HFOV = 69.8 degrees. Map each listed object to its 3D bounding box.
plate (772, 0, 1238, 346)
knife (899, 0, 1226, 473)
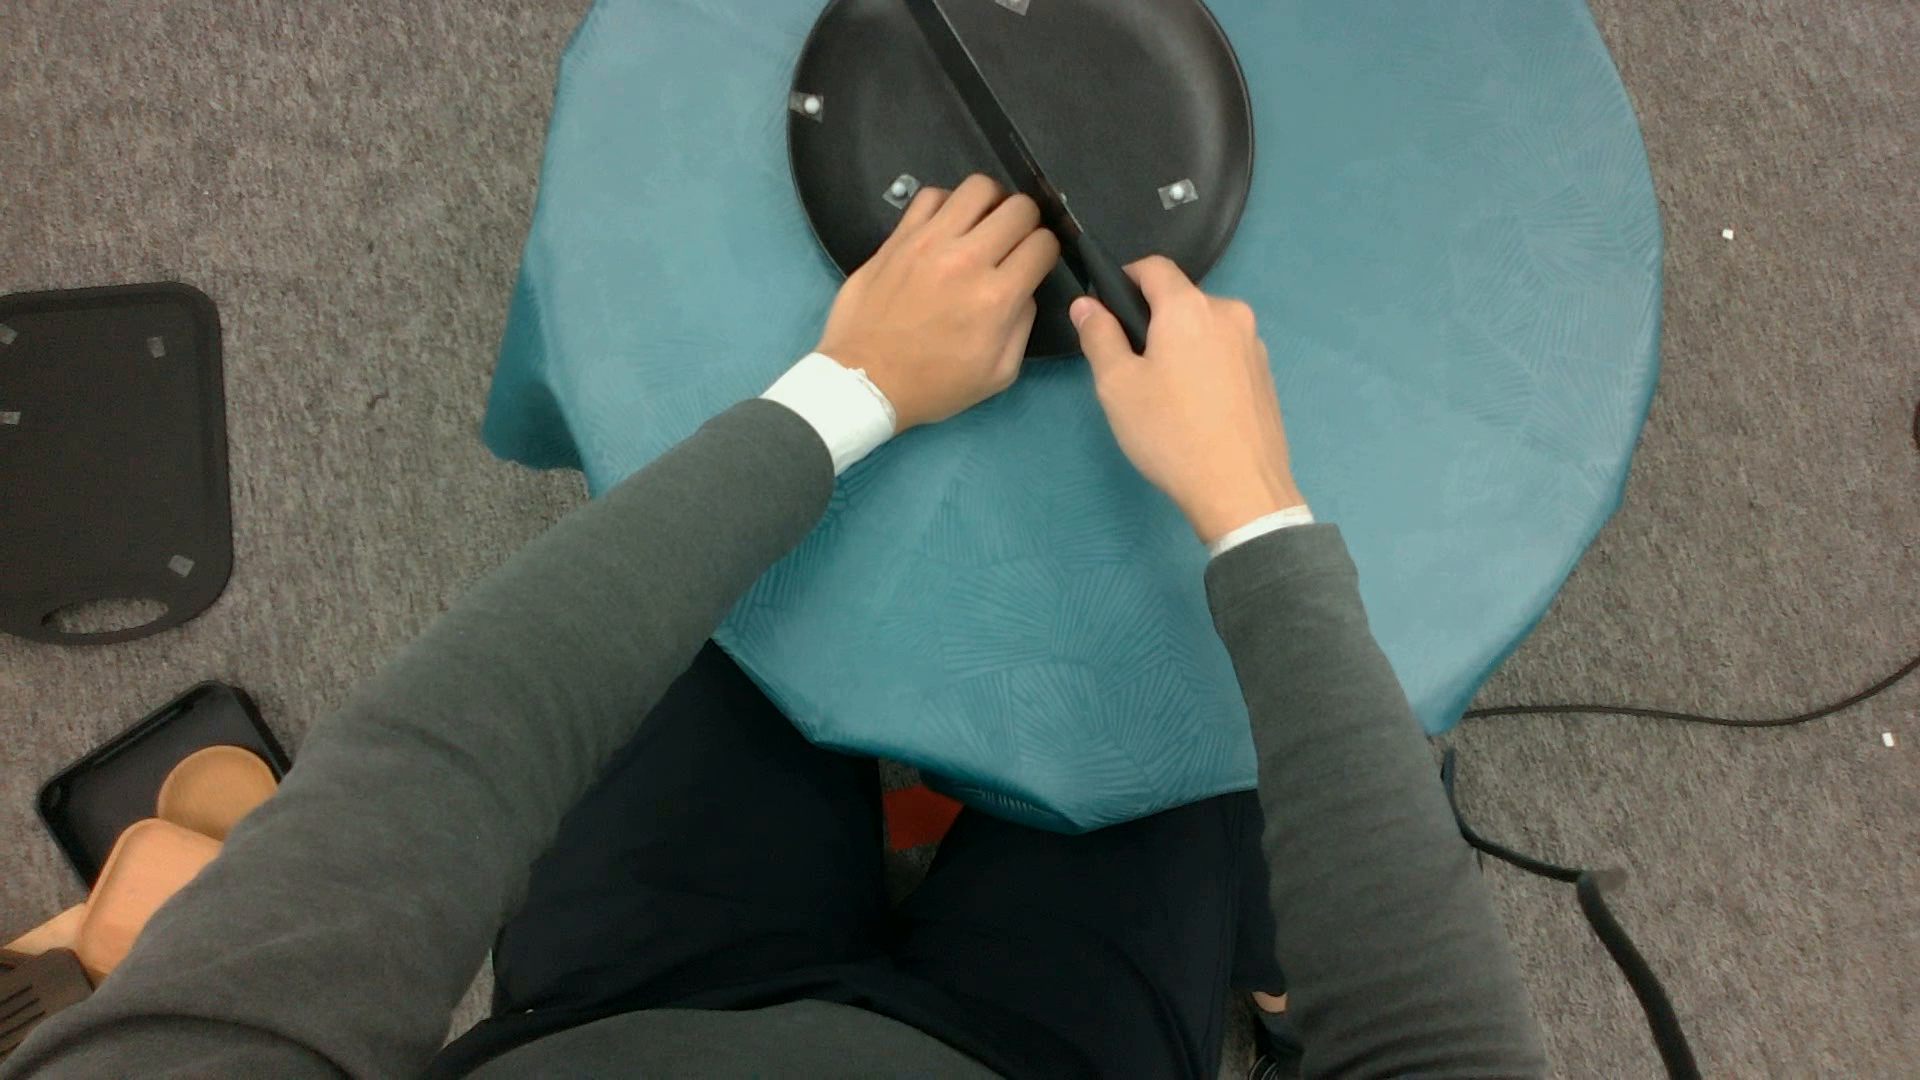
[{"bbox_3d":[0.024,-0.217,0.722,0.244,0.023,0.244,1,81,-4],"label":"plate"},{"bbox_3d":[0.040,-0.162,0.666,0.021,0.081,0.302,-31,79,-2],"label":"knife"}]
